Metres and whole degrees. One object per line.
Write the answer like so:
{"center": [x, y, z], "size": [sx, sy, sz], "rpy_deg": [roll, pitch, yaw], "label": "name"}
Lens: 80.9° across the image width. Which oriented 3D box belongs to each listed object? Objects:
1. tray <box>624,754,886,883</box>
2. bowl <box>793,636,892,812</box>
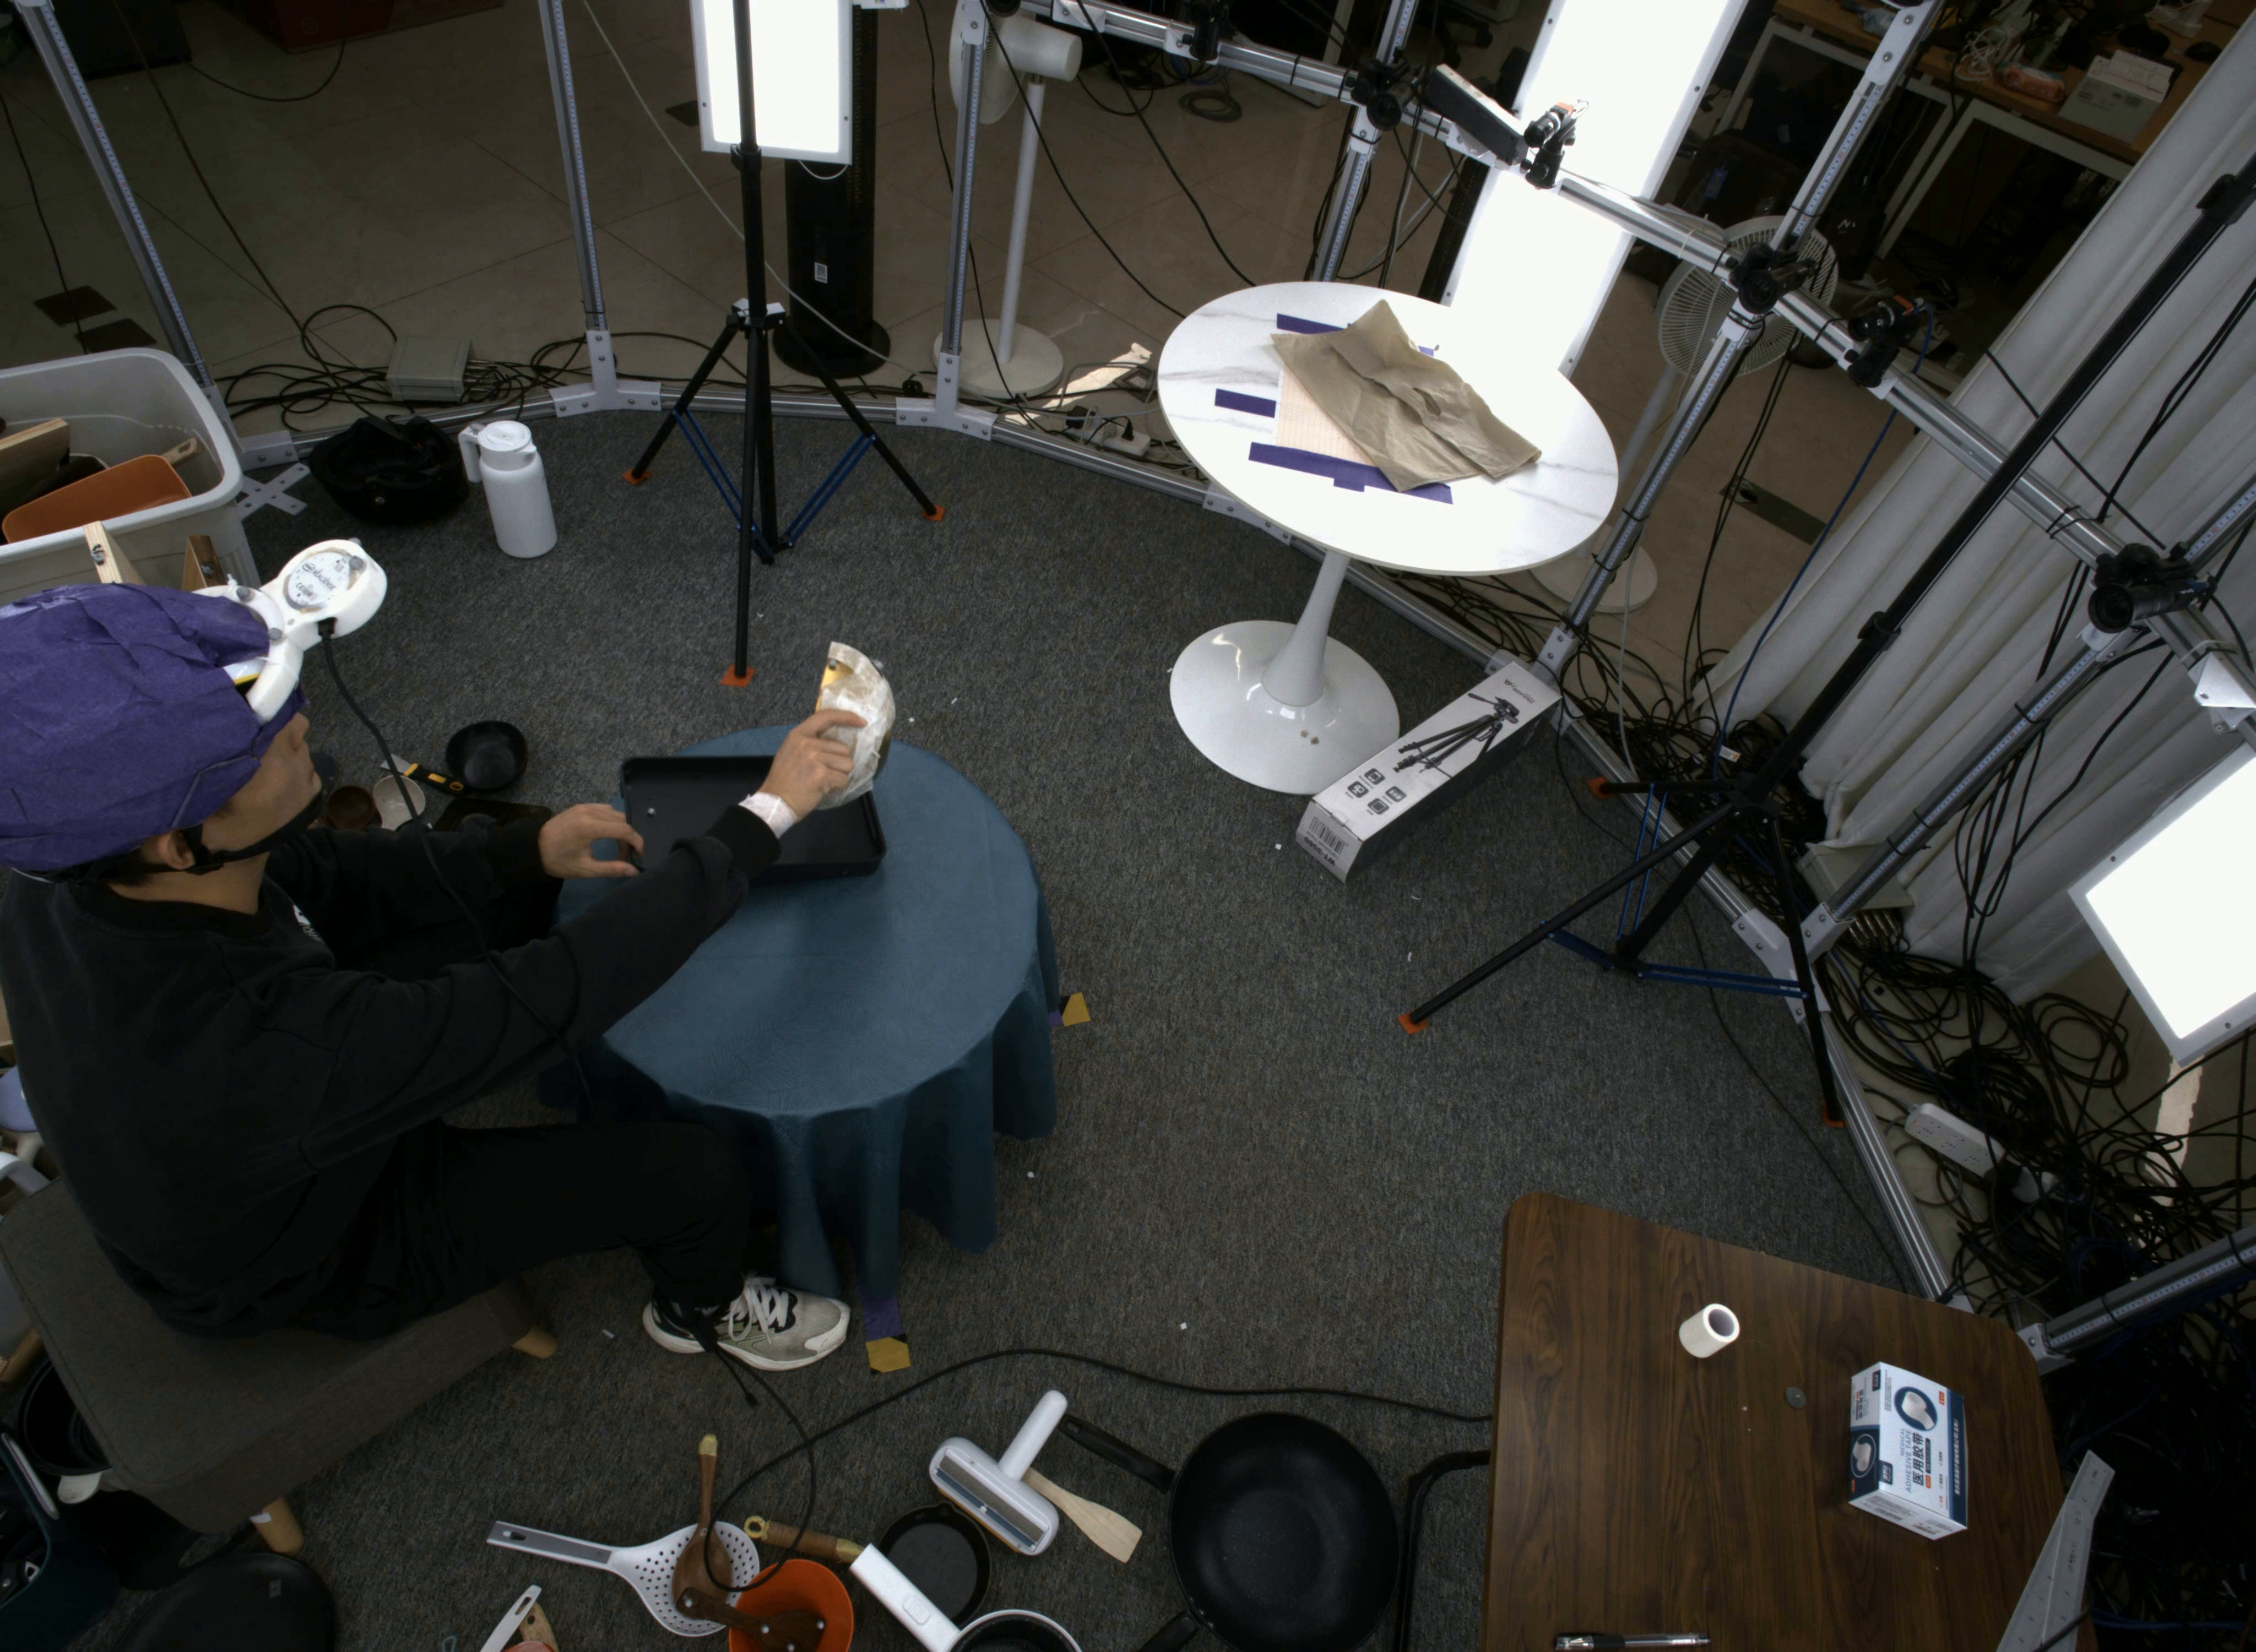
{"center": [-0.482, -0.011, 1.663], "size": [0.322, 0.037, 0.179], "rpy_deg": [0, 51, -30], "label": "tray"}
{"center": [-0.334, -0.112, 1.551], "size": [0.095, 0.217, 0.211], "rpy_deg": [12, 50, -13], "label": "bowl"}
